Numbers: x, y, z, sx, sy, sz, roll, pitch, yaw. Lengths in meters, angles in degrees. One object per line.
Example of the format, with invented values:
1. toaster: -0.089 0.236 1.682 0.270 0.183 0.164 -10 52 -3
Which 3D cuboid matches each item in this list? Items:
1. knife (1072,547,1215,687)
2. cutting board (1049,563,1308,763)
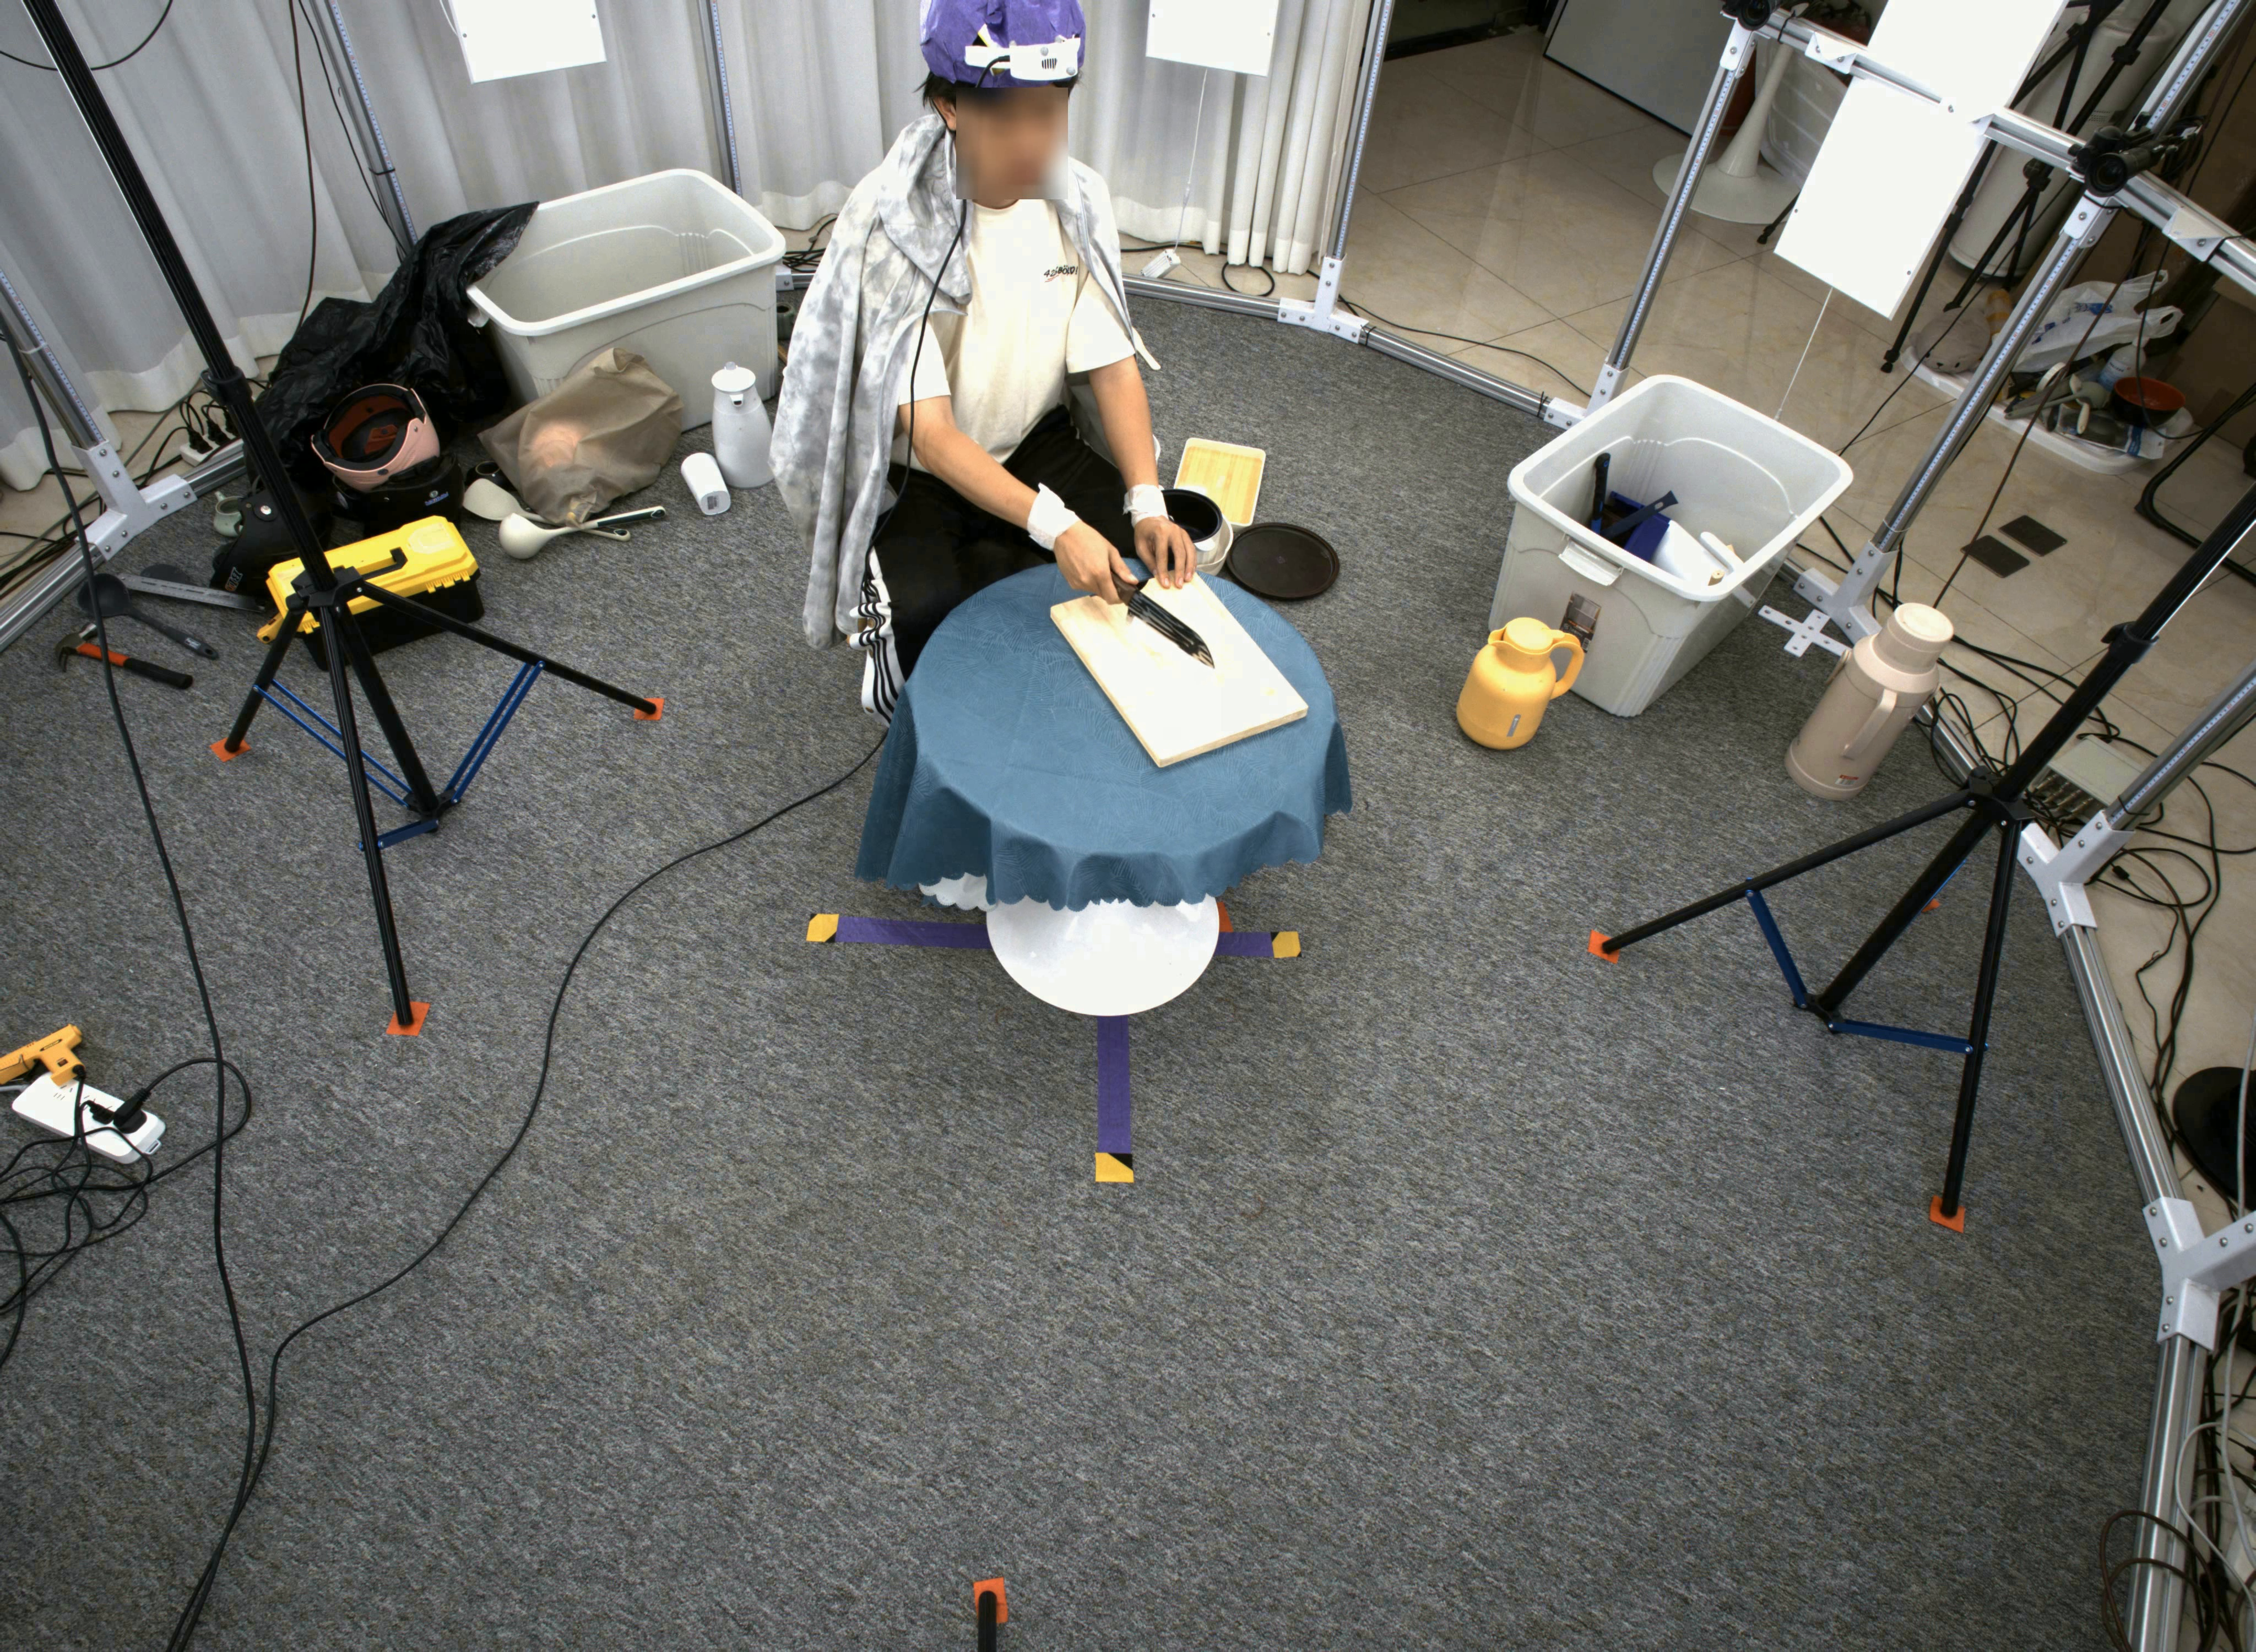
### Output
1. knife: 0.022 -0.303 1.855 0.304 0.066 0.024 41 44 24
2. cutting board: 0.067 -0.245 1.868 0.251 0.023 0.356 -21 53 -21
